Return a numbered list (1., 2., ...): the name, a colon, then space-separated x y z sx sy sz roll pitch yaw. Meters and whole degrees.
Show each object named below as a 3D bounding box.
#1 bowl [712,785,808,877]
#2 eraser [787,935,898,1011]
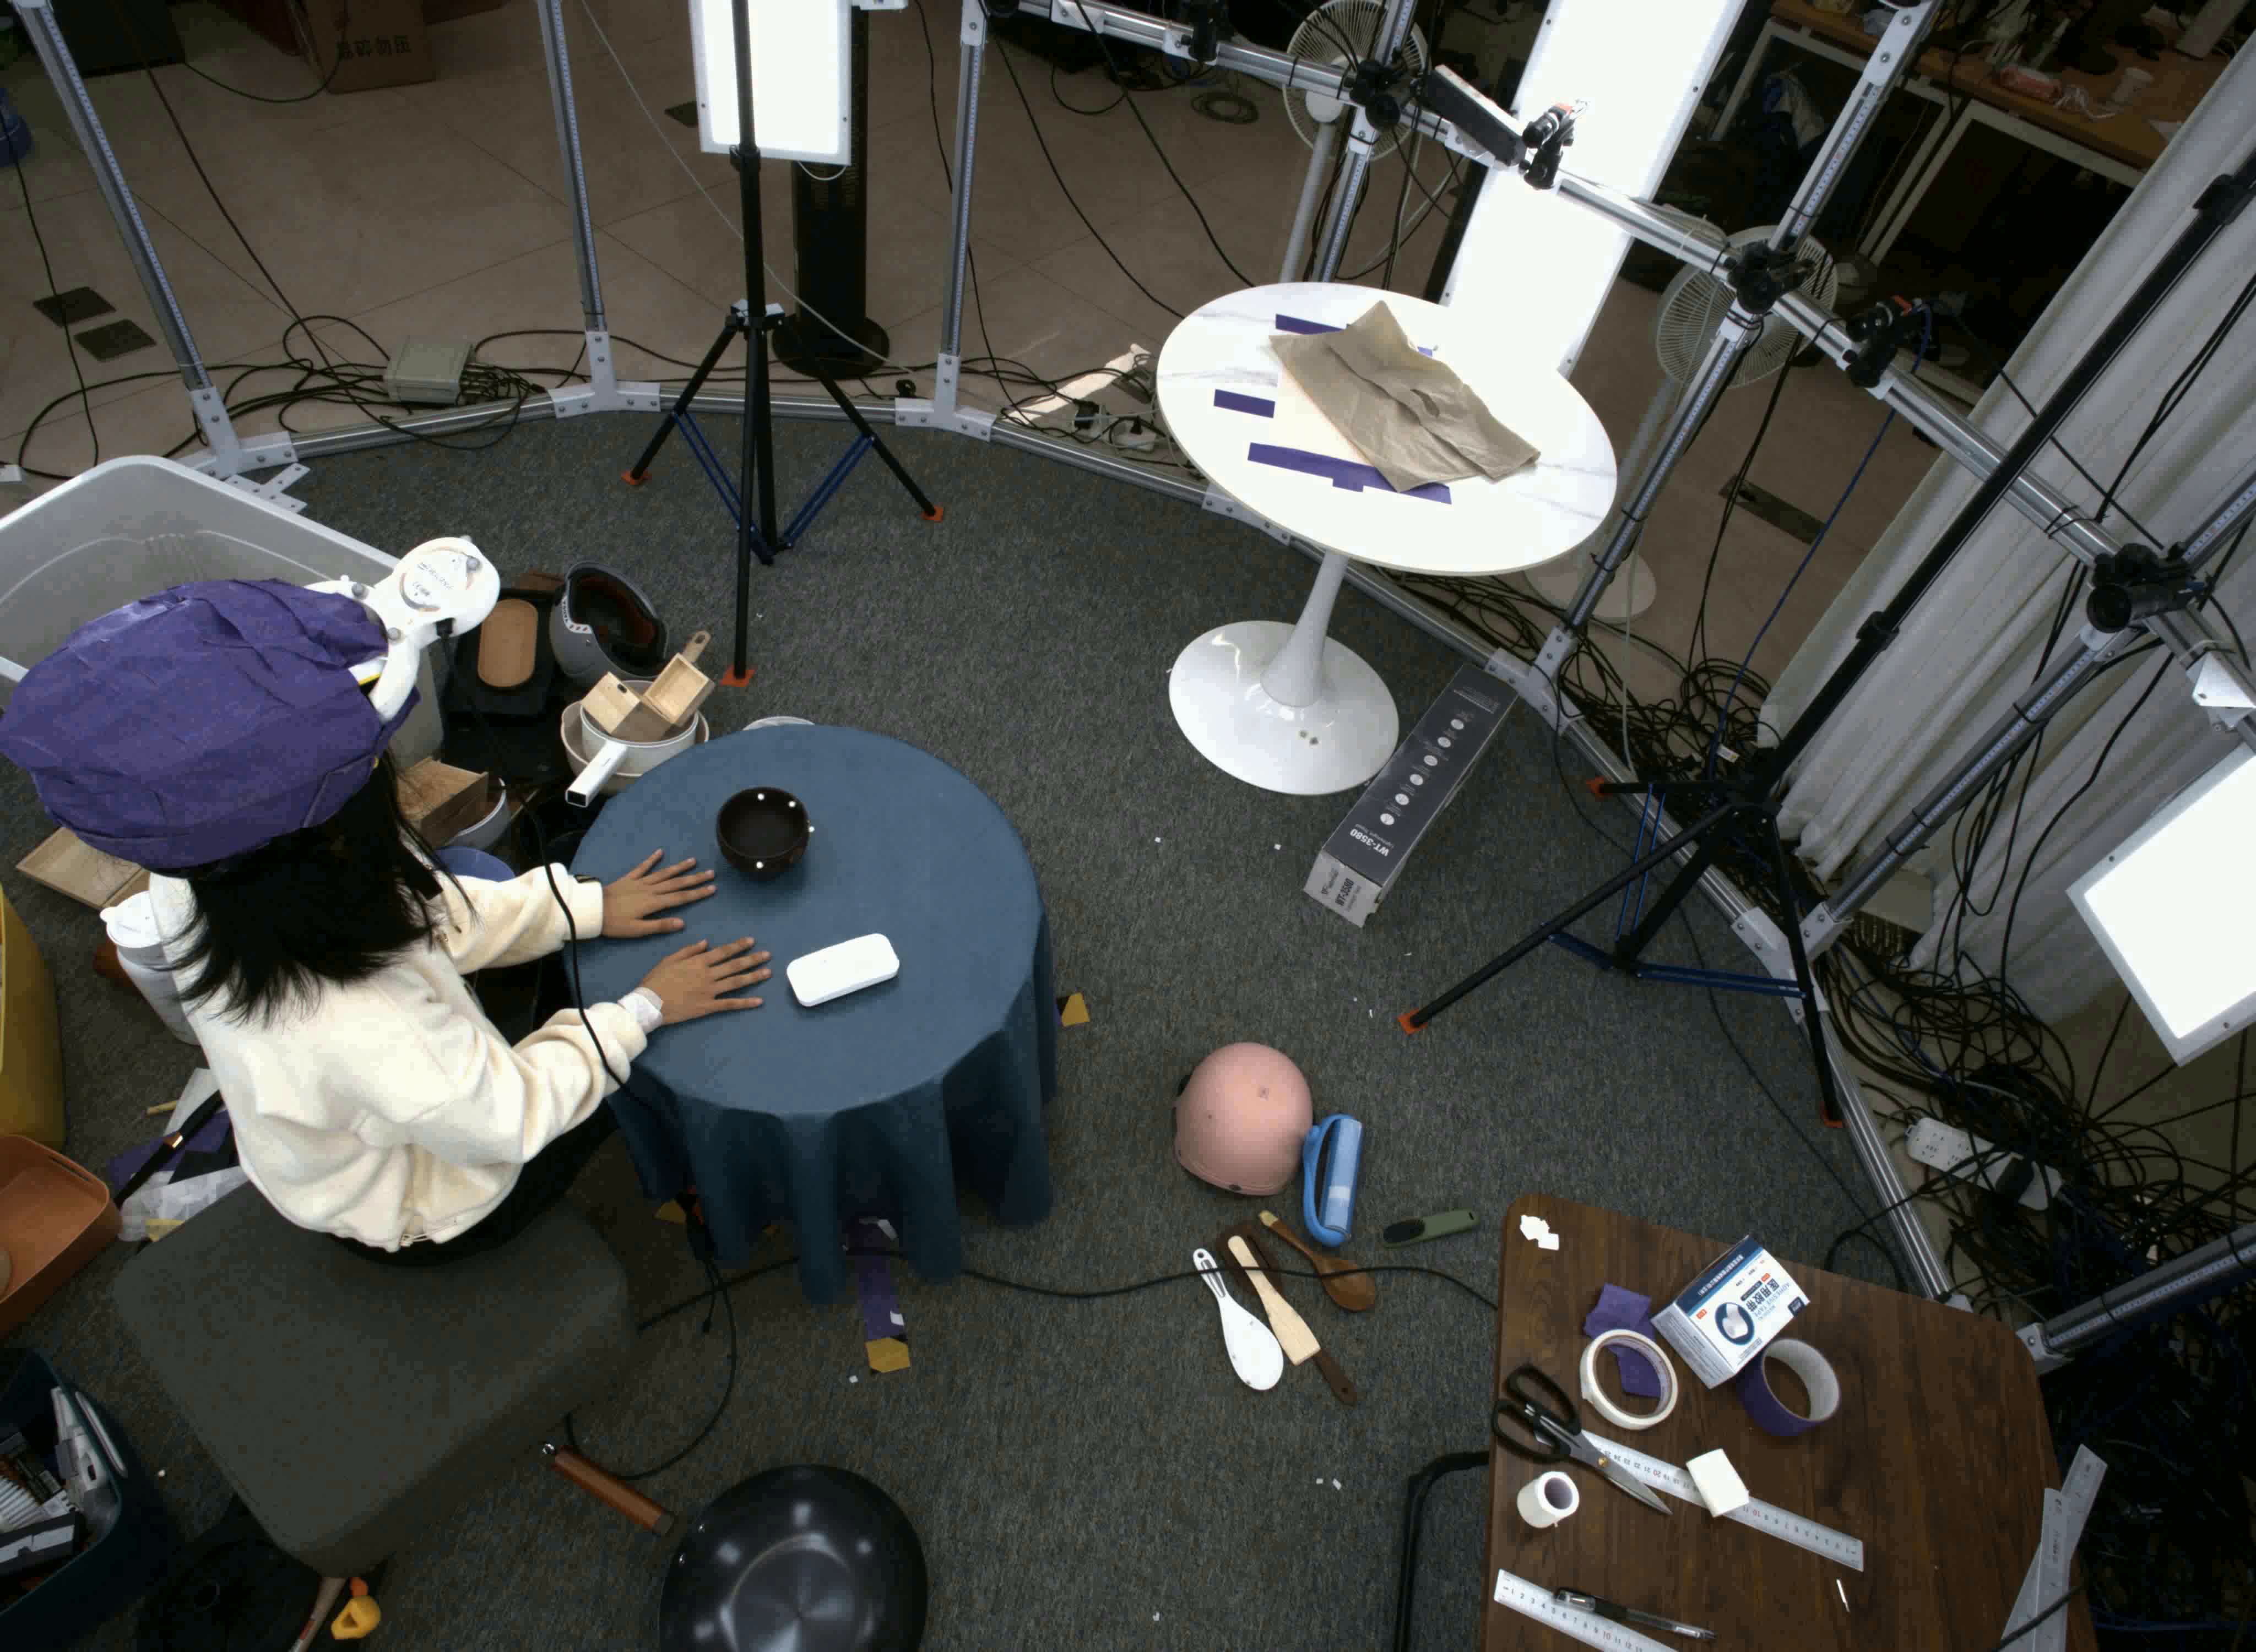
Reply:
1. bowl: -0.468 0.013 1.651 0.117 0.071 0.116 6 51 -7
2. eraser: -0.349 0.175 1.588 0.132 0.035 0.062 -18 59 -26
